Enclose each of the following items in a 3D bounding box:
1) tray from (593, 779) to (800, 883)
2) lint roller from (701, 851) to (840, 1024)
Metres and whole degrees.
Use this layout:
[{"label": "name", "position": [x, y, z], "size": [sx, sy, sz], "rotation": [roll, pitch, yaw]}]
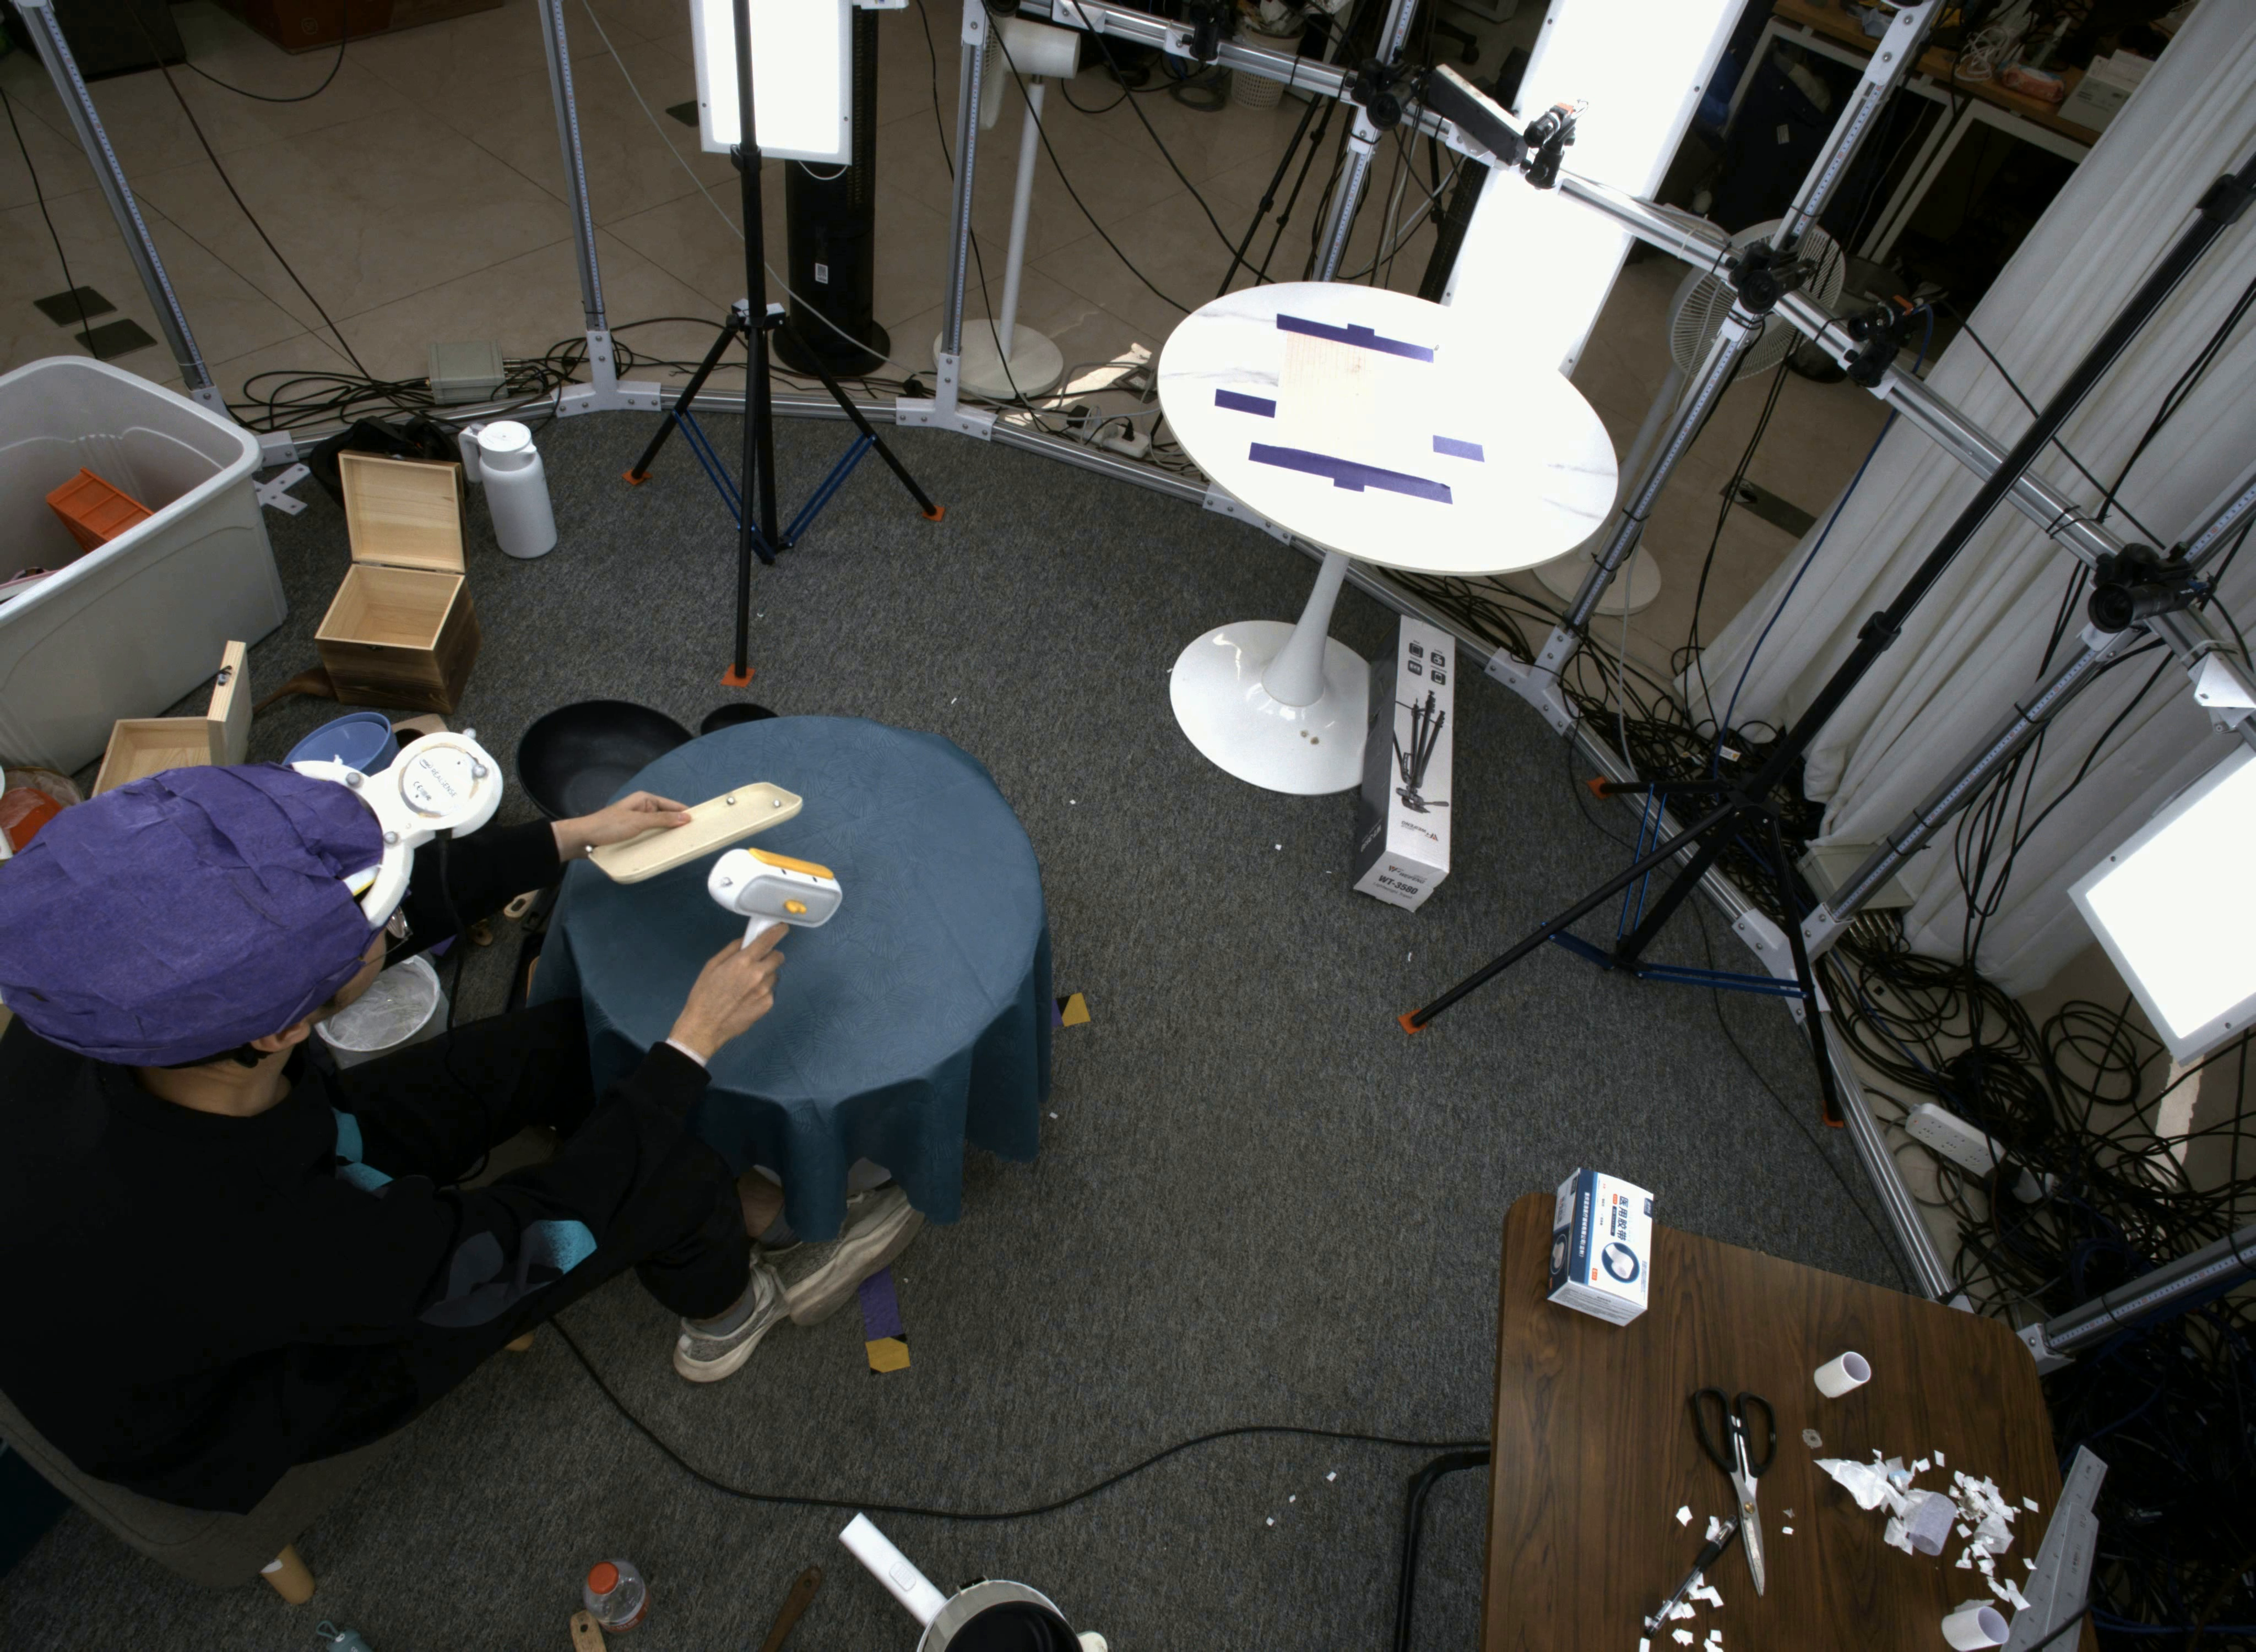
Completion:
[{"label": "tray", "position": [-0.518, 0.003, 1.543], "size": [0.240, 0.018, 0.165], "rotation": [-26, 24, -28]}, {"label": "lint roller", "position": [-0.420, 0.125, 1.467], "size": [0.072, 0.196, 0.194], "rotation": [29, 96, 20]}]
